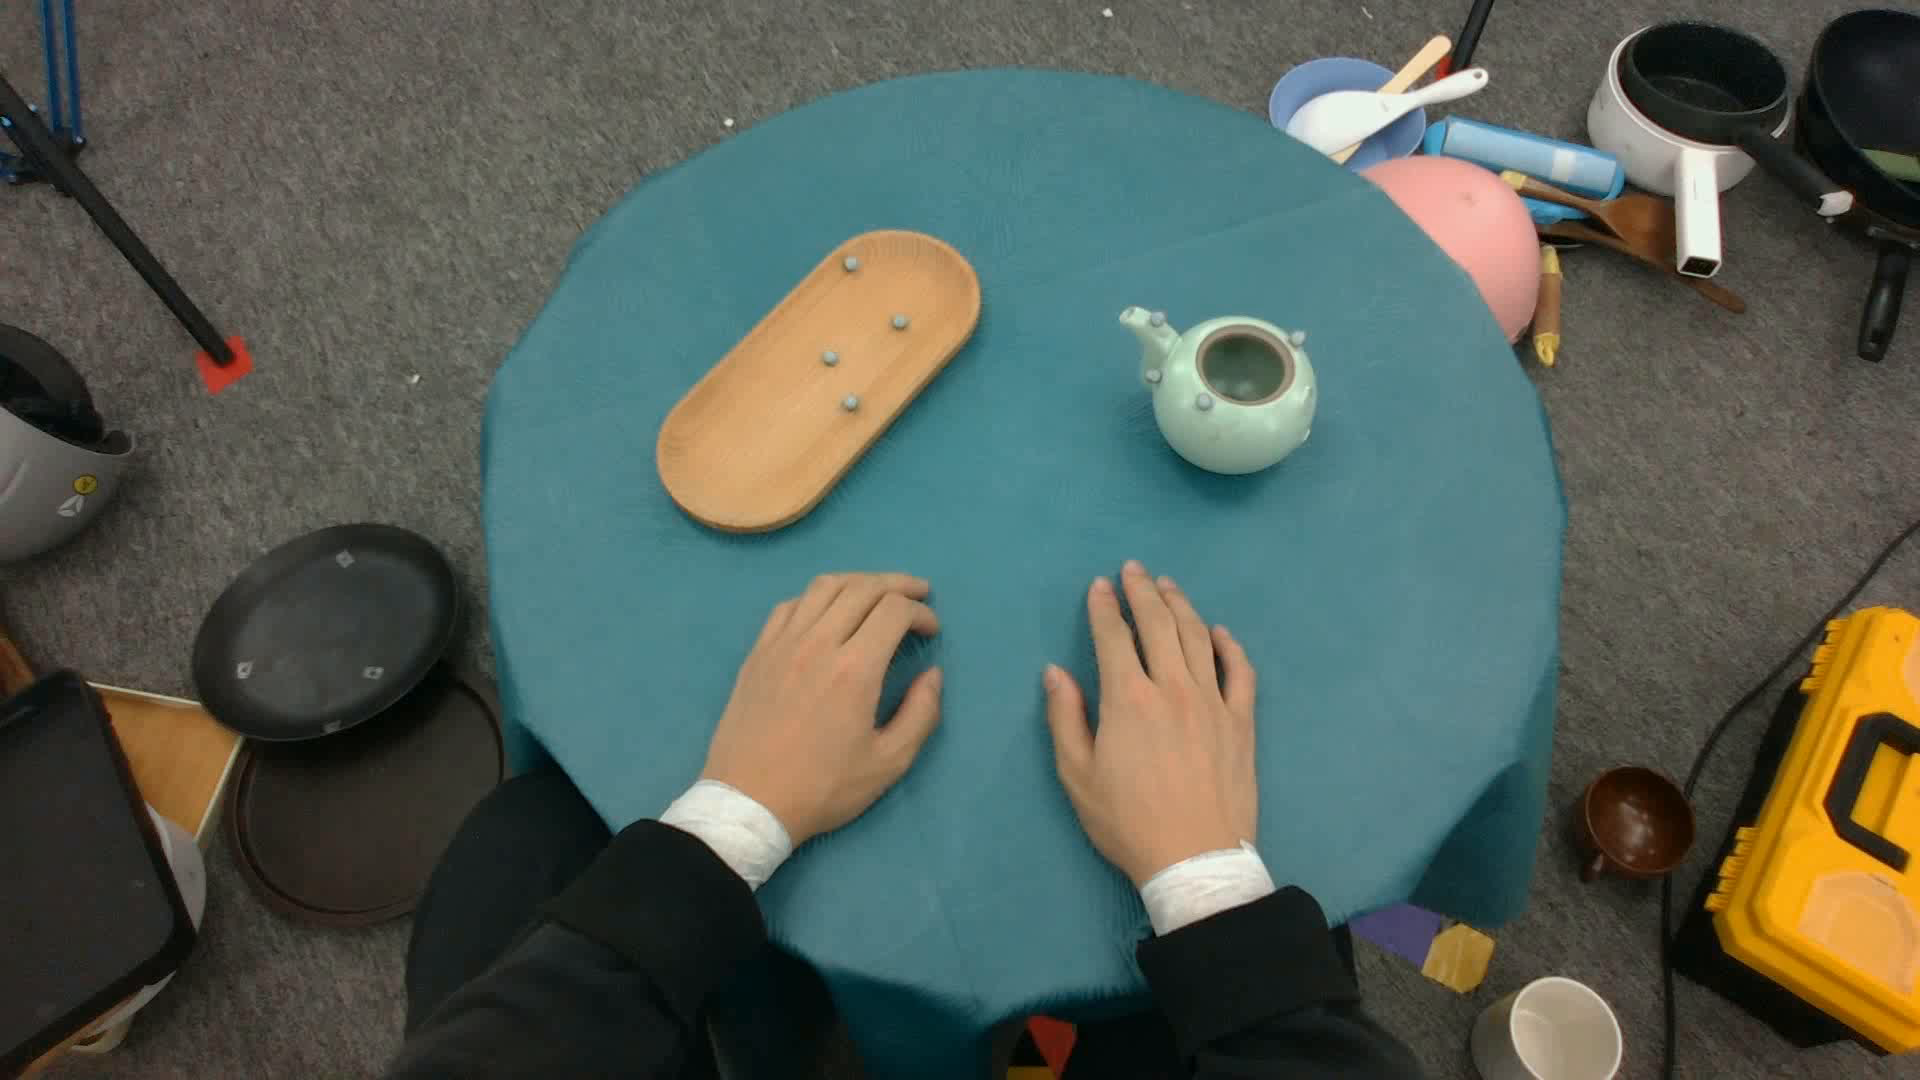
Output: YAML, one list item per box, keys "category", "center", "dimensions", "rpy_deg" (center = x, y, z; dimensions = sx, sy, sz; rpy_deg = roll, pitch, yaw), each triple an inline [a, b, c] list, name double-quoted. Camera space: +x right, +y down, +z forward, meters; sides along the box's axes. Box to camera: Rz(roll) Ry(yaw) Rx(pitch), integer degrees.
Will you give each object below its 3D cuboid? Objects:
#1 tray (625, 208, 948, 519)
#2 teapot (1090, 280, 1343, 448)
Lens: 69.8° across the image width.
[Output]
- category: "tray"
  center: [-0.095, -0.104, 0.784]
  dimensions: [0.101, 0.020, 0.232]
  rpy_deg: [32, 68, 16]
- category: "teapot"
  center: [0.135, -0.095, 0.754]
  dimensions: [0.144, 0.074, 0.088]
  rpy_deg: [24, 64, 13]
